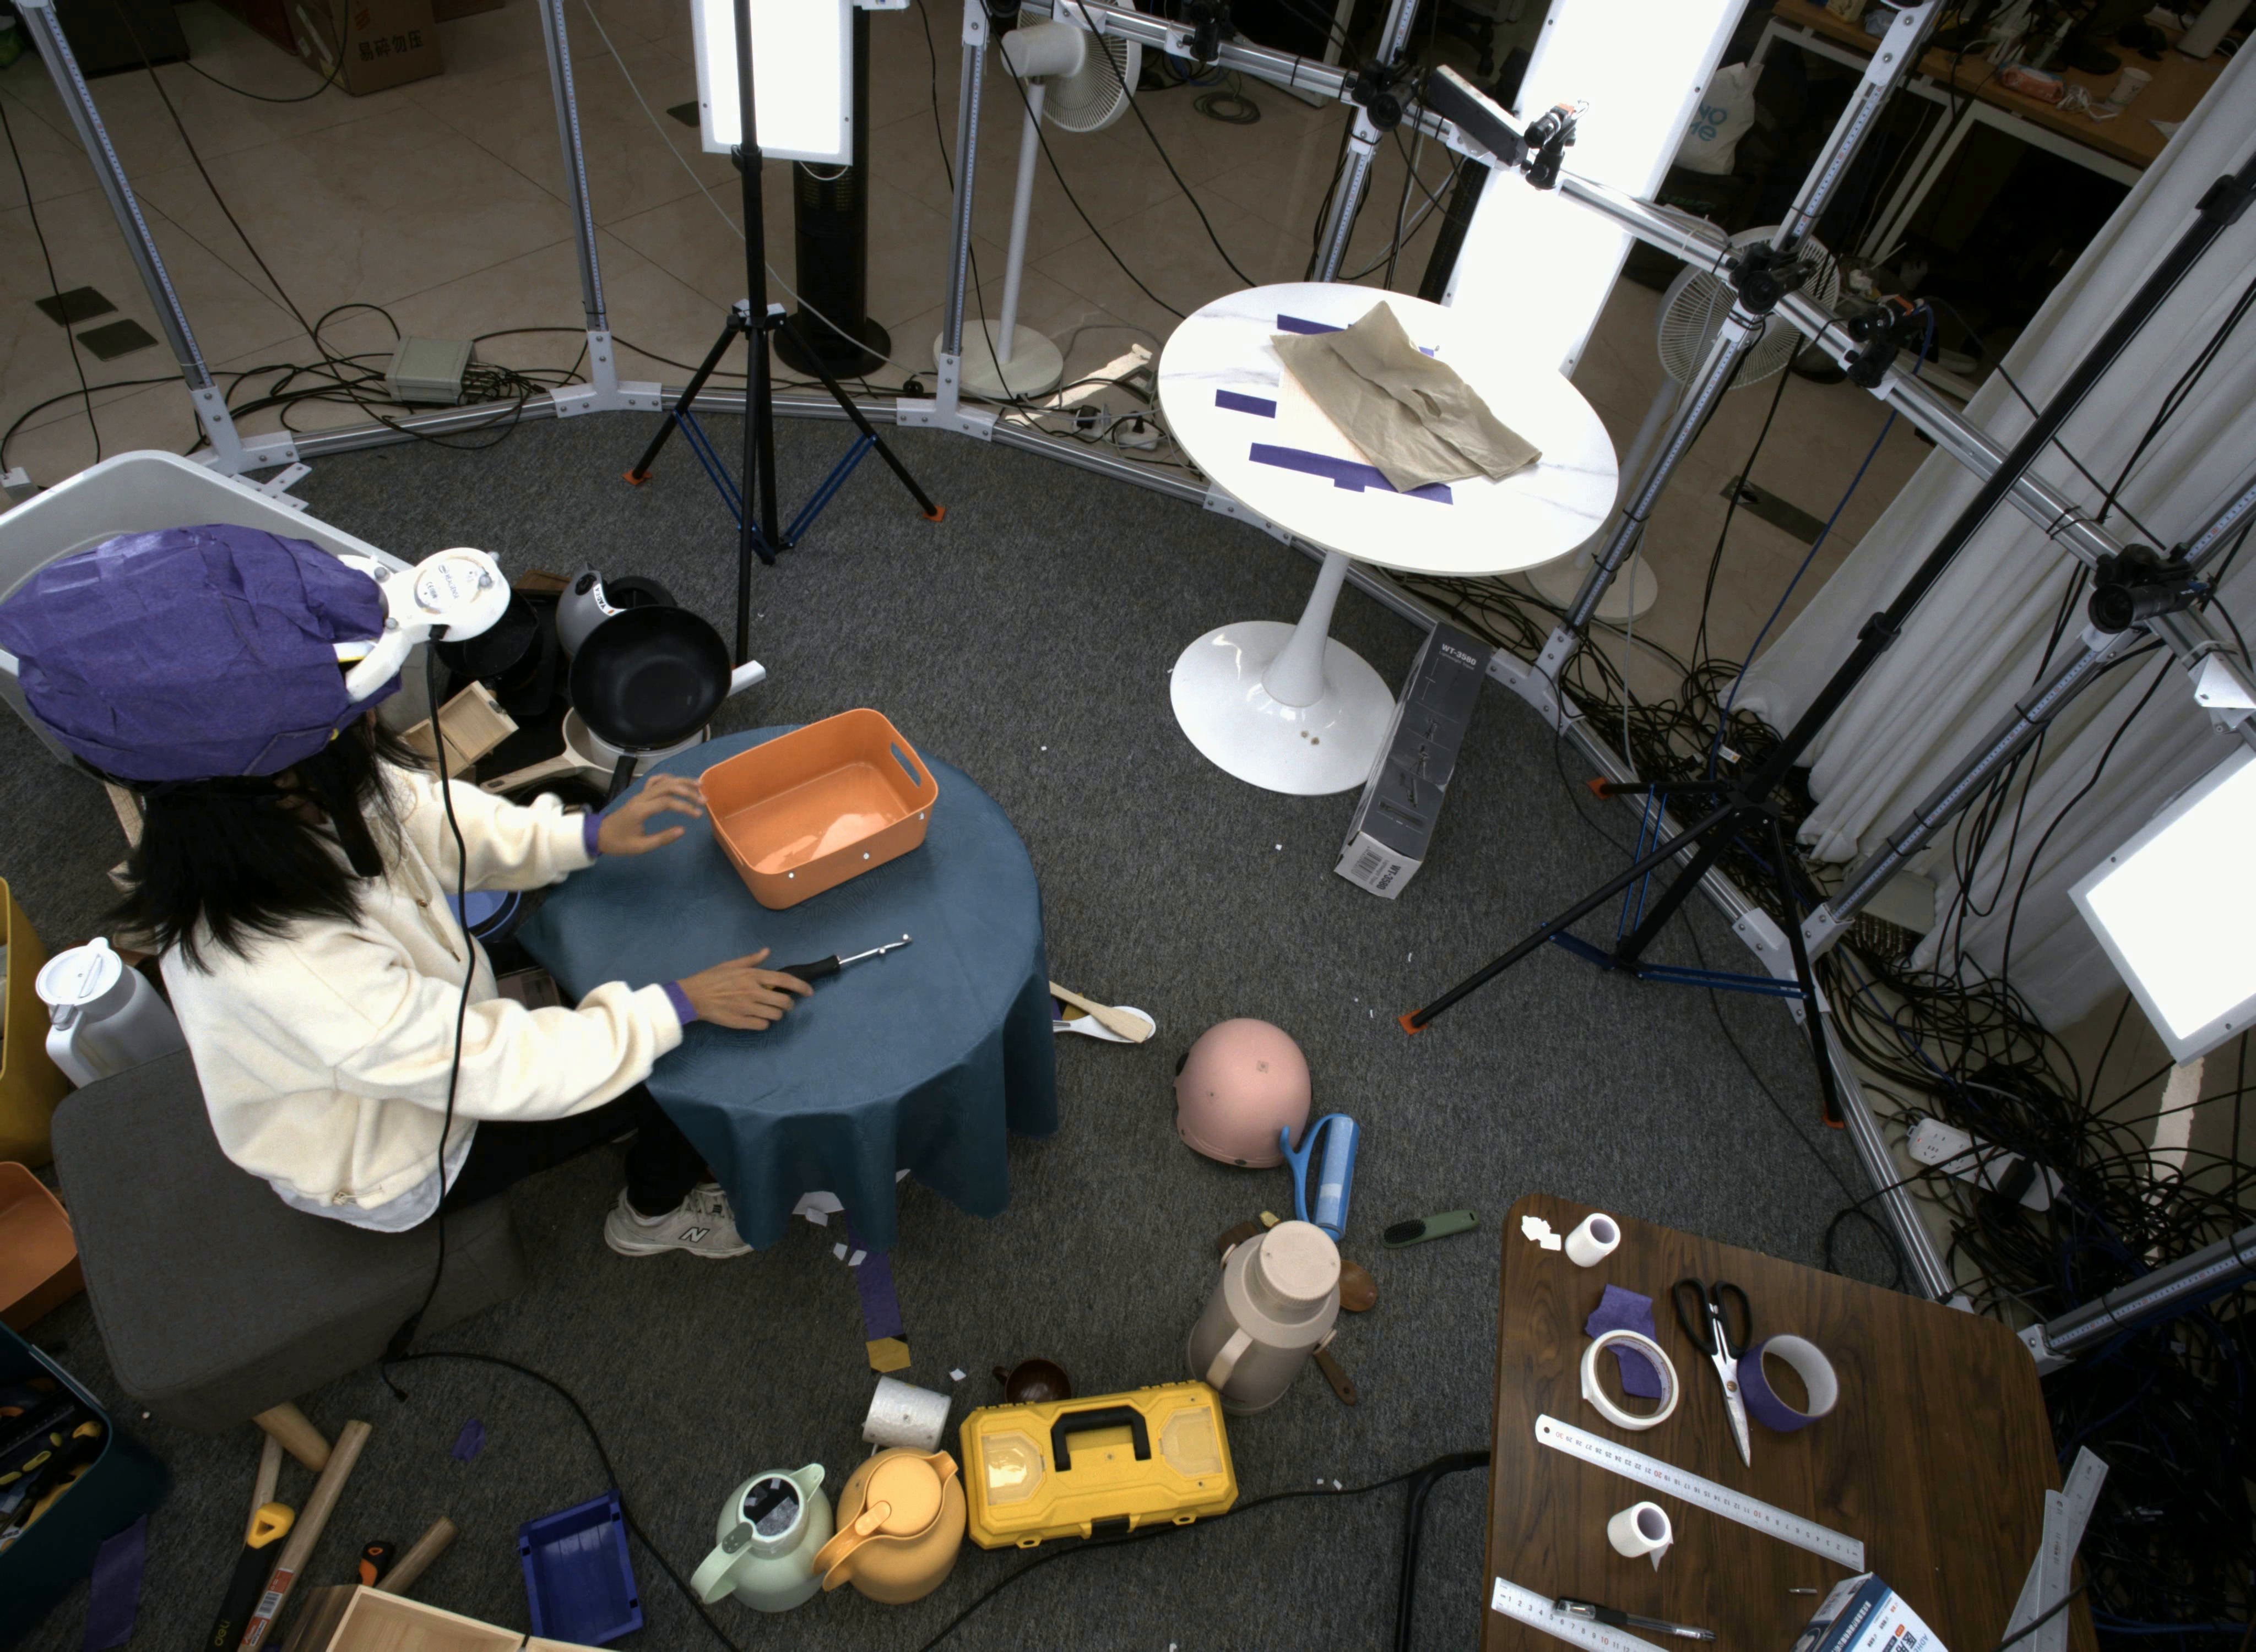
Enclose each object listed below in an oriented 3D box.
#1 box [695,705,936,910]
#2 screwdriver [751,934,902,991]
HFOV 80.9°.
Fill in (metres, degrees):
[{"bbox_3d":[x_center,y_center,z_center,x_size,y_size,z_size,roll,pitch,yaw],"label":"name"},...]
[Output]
[{"bbox_3d":[-0.402,-0.024,1.675,0.274,0.104,0.195,-28,65,-30],"label":"box"},{"bbox_3d":[-0.367,0.157,1.586,0.199,0.032,0.030,-19,58,-36],"label":"screwdriver"}]
